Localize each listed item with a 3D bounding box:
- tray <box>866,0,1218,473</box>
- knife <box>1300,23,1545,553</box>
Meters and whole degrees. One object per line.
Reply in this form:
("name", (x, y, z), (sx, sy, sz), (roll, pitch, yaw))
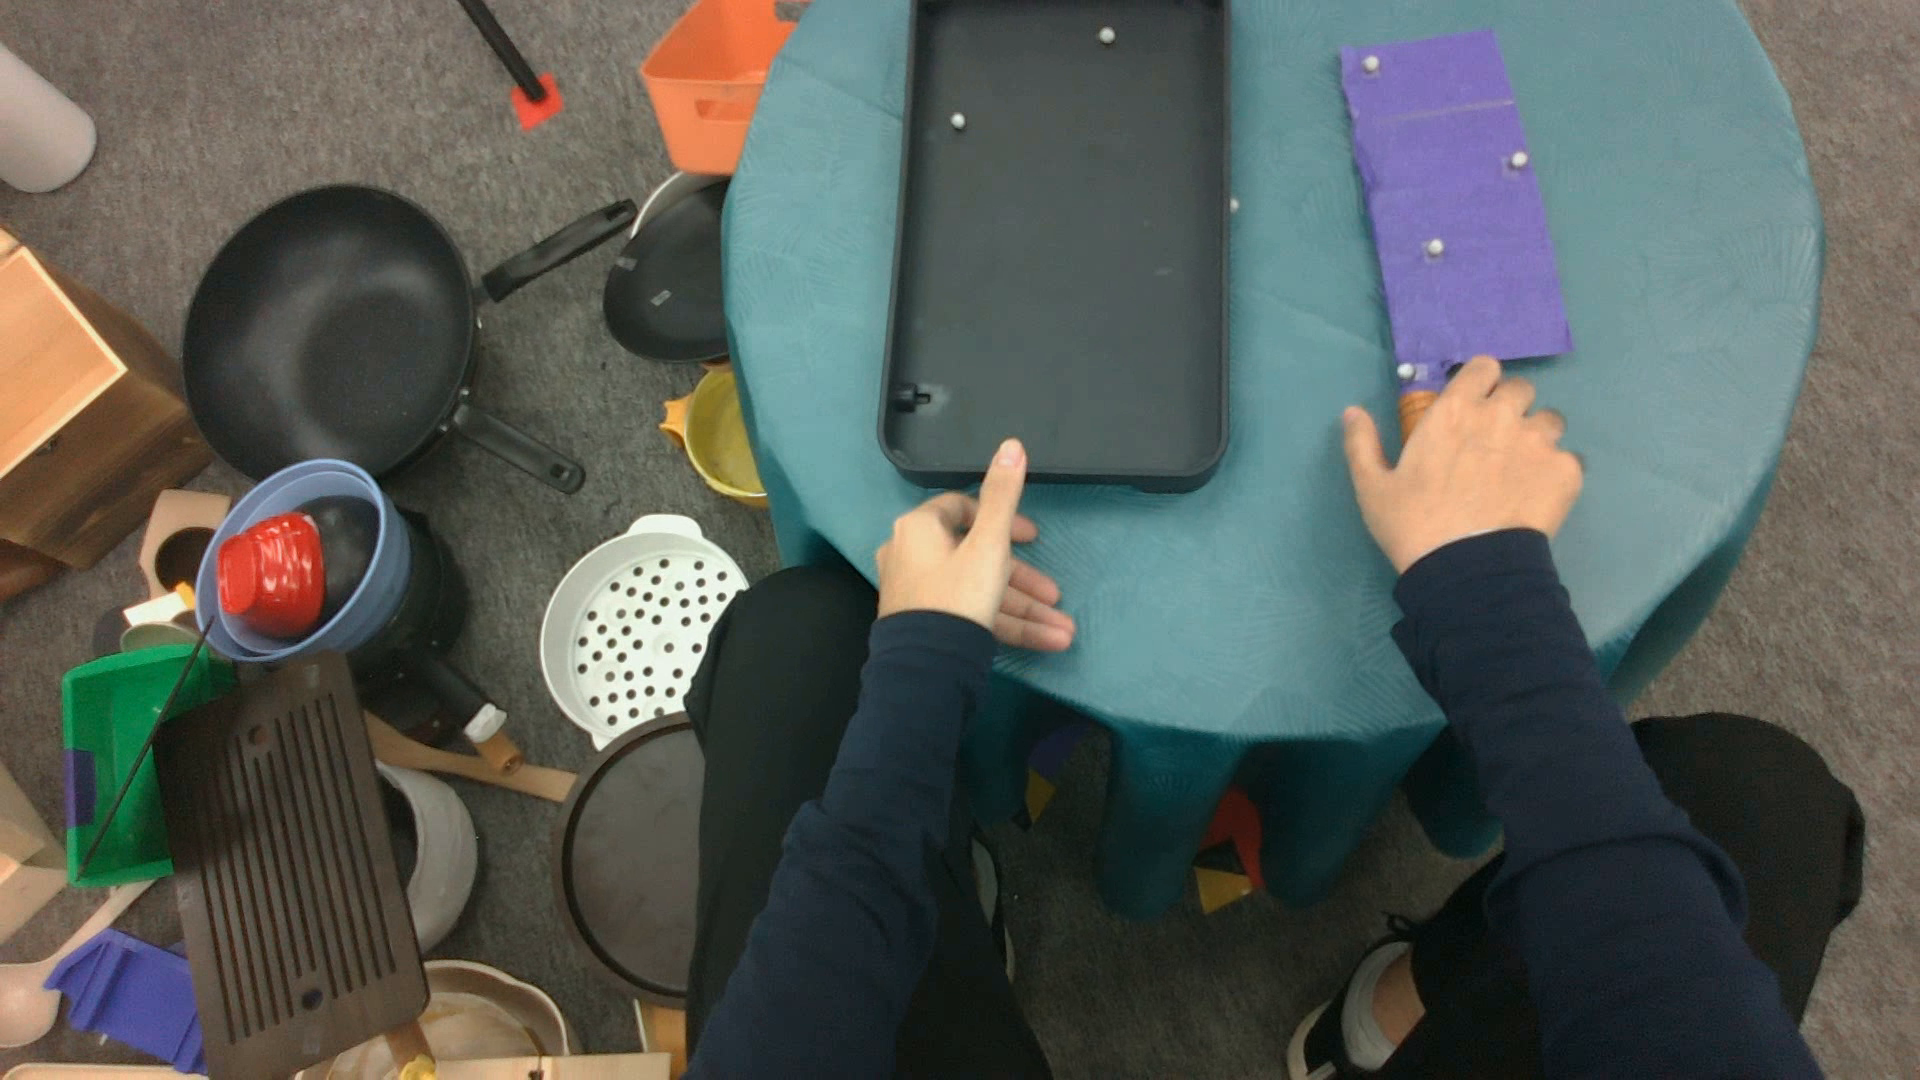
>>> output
("tray", (0.048, -0.191, 0.771), (0.184, 0.037, 0.319), (0, 74, 5))
("knife", (0.260, -0.149, 0.740), (0.104, 0.032, 0.316), (-6, 71, 4))
